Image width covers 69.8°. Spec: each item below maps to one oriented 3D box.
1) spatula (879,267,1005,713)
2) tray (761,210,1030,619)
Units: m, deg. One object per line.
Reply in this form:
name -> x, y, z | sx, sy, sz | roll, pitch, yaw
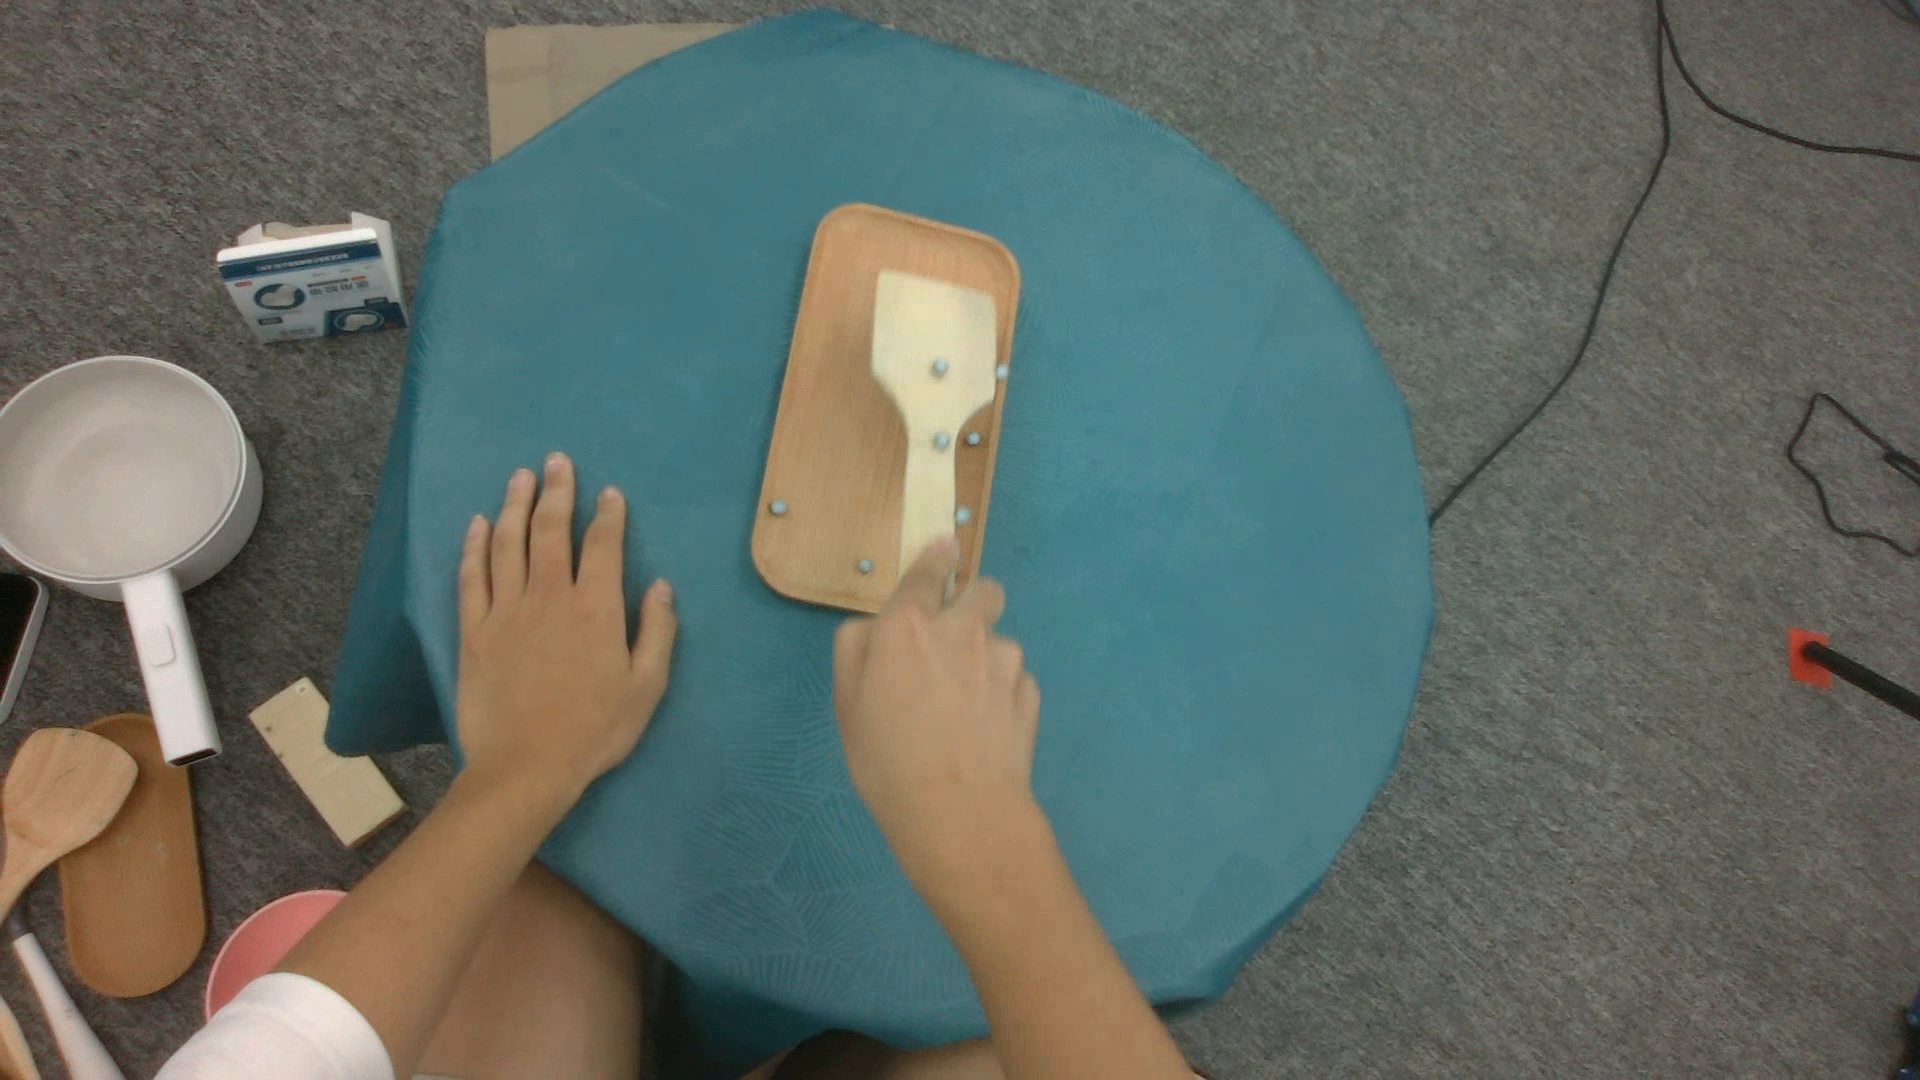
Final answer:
spatula -> -0.011, -0.037, 0.705 | 0.072, 0.010, 0.294 | 11, 49, -12
tray -> -0.035, -0.076, 0.811 | 0.130, 0.023, 0.251 | 13, 69, -10
